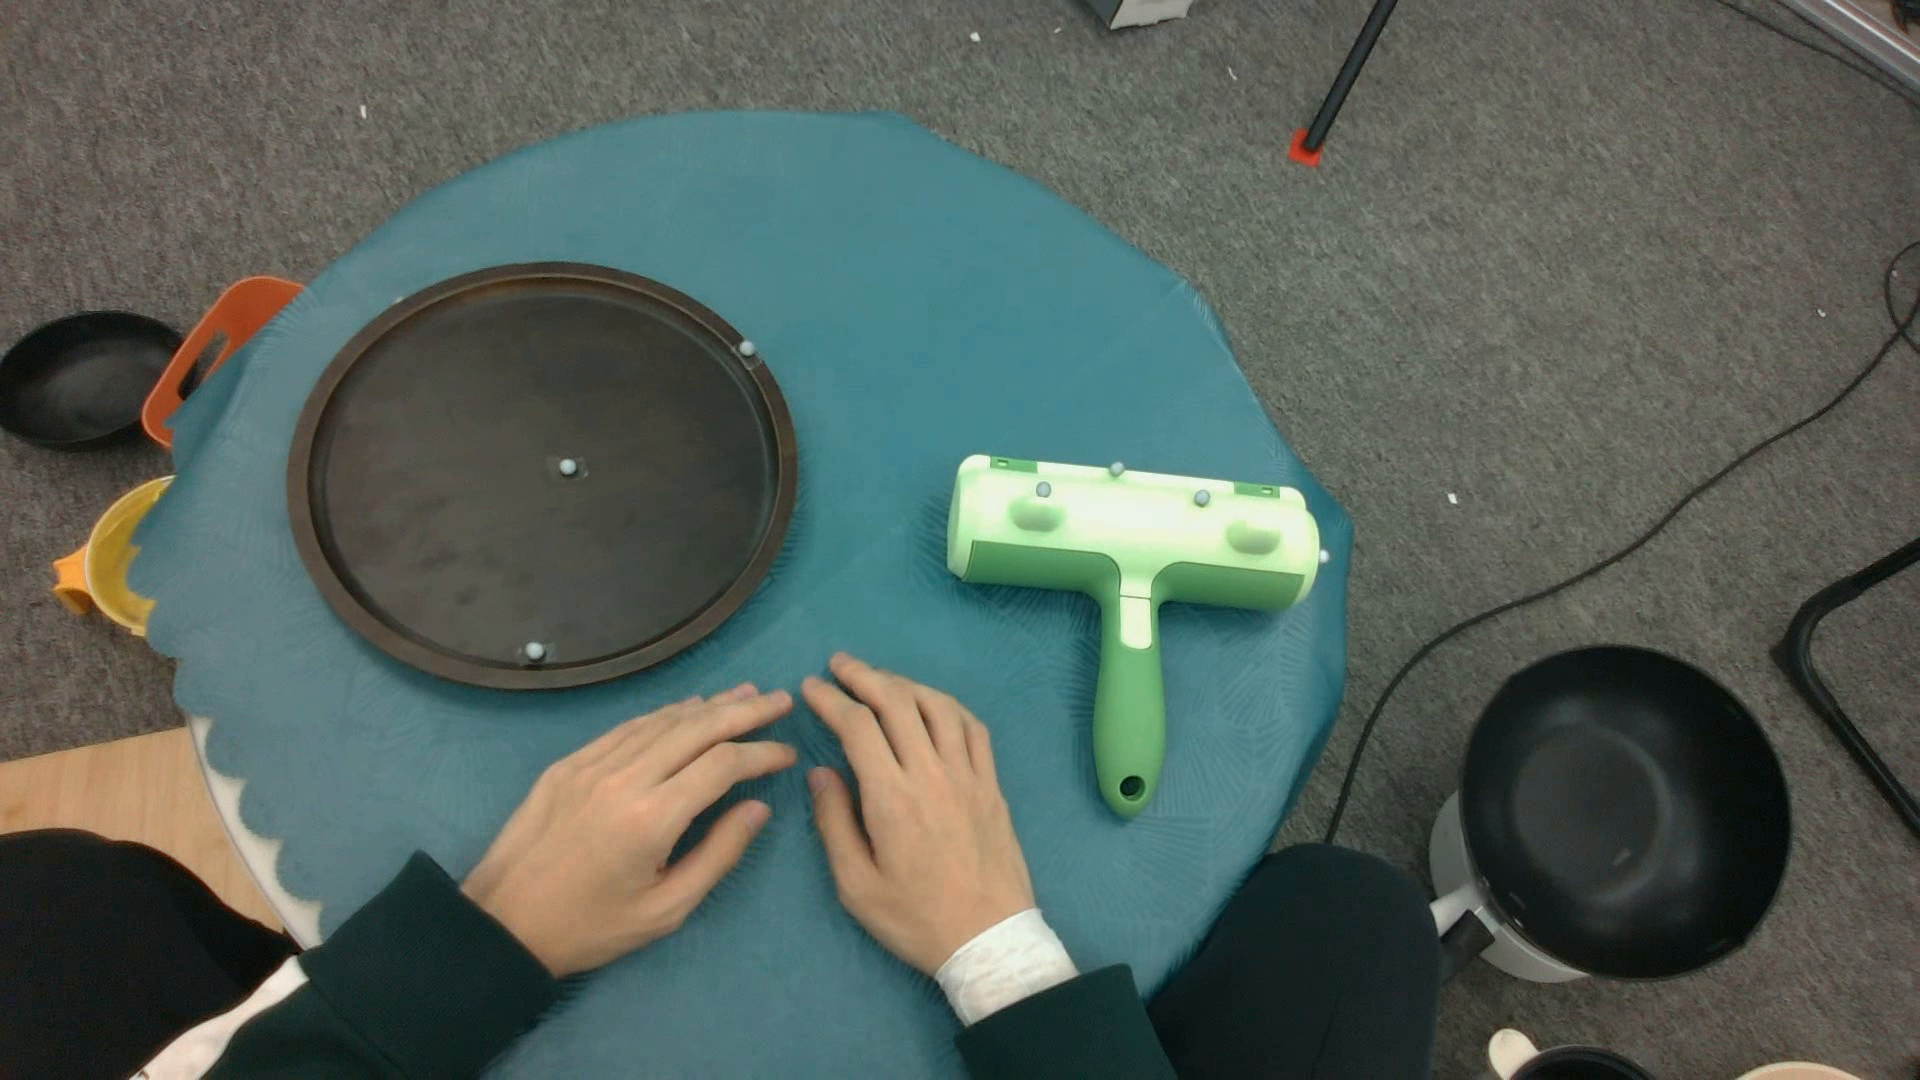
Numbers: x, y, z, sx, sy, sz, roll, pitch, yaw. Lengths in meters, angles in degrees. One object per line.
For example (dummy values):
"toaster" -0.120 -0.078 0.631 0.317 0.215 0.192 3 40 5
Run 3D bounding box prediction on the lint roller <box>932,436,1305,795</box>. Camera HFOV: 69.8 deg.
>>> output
"lint roller" 0.086 0.032 0.706 0.199 0.082 0.184 5 60 -8

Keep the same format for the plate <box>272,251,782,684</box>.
"plate" -0.221 -0.043 0.719 0.255 0.029 0.256 5 62 -9
